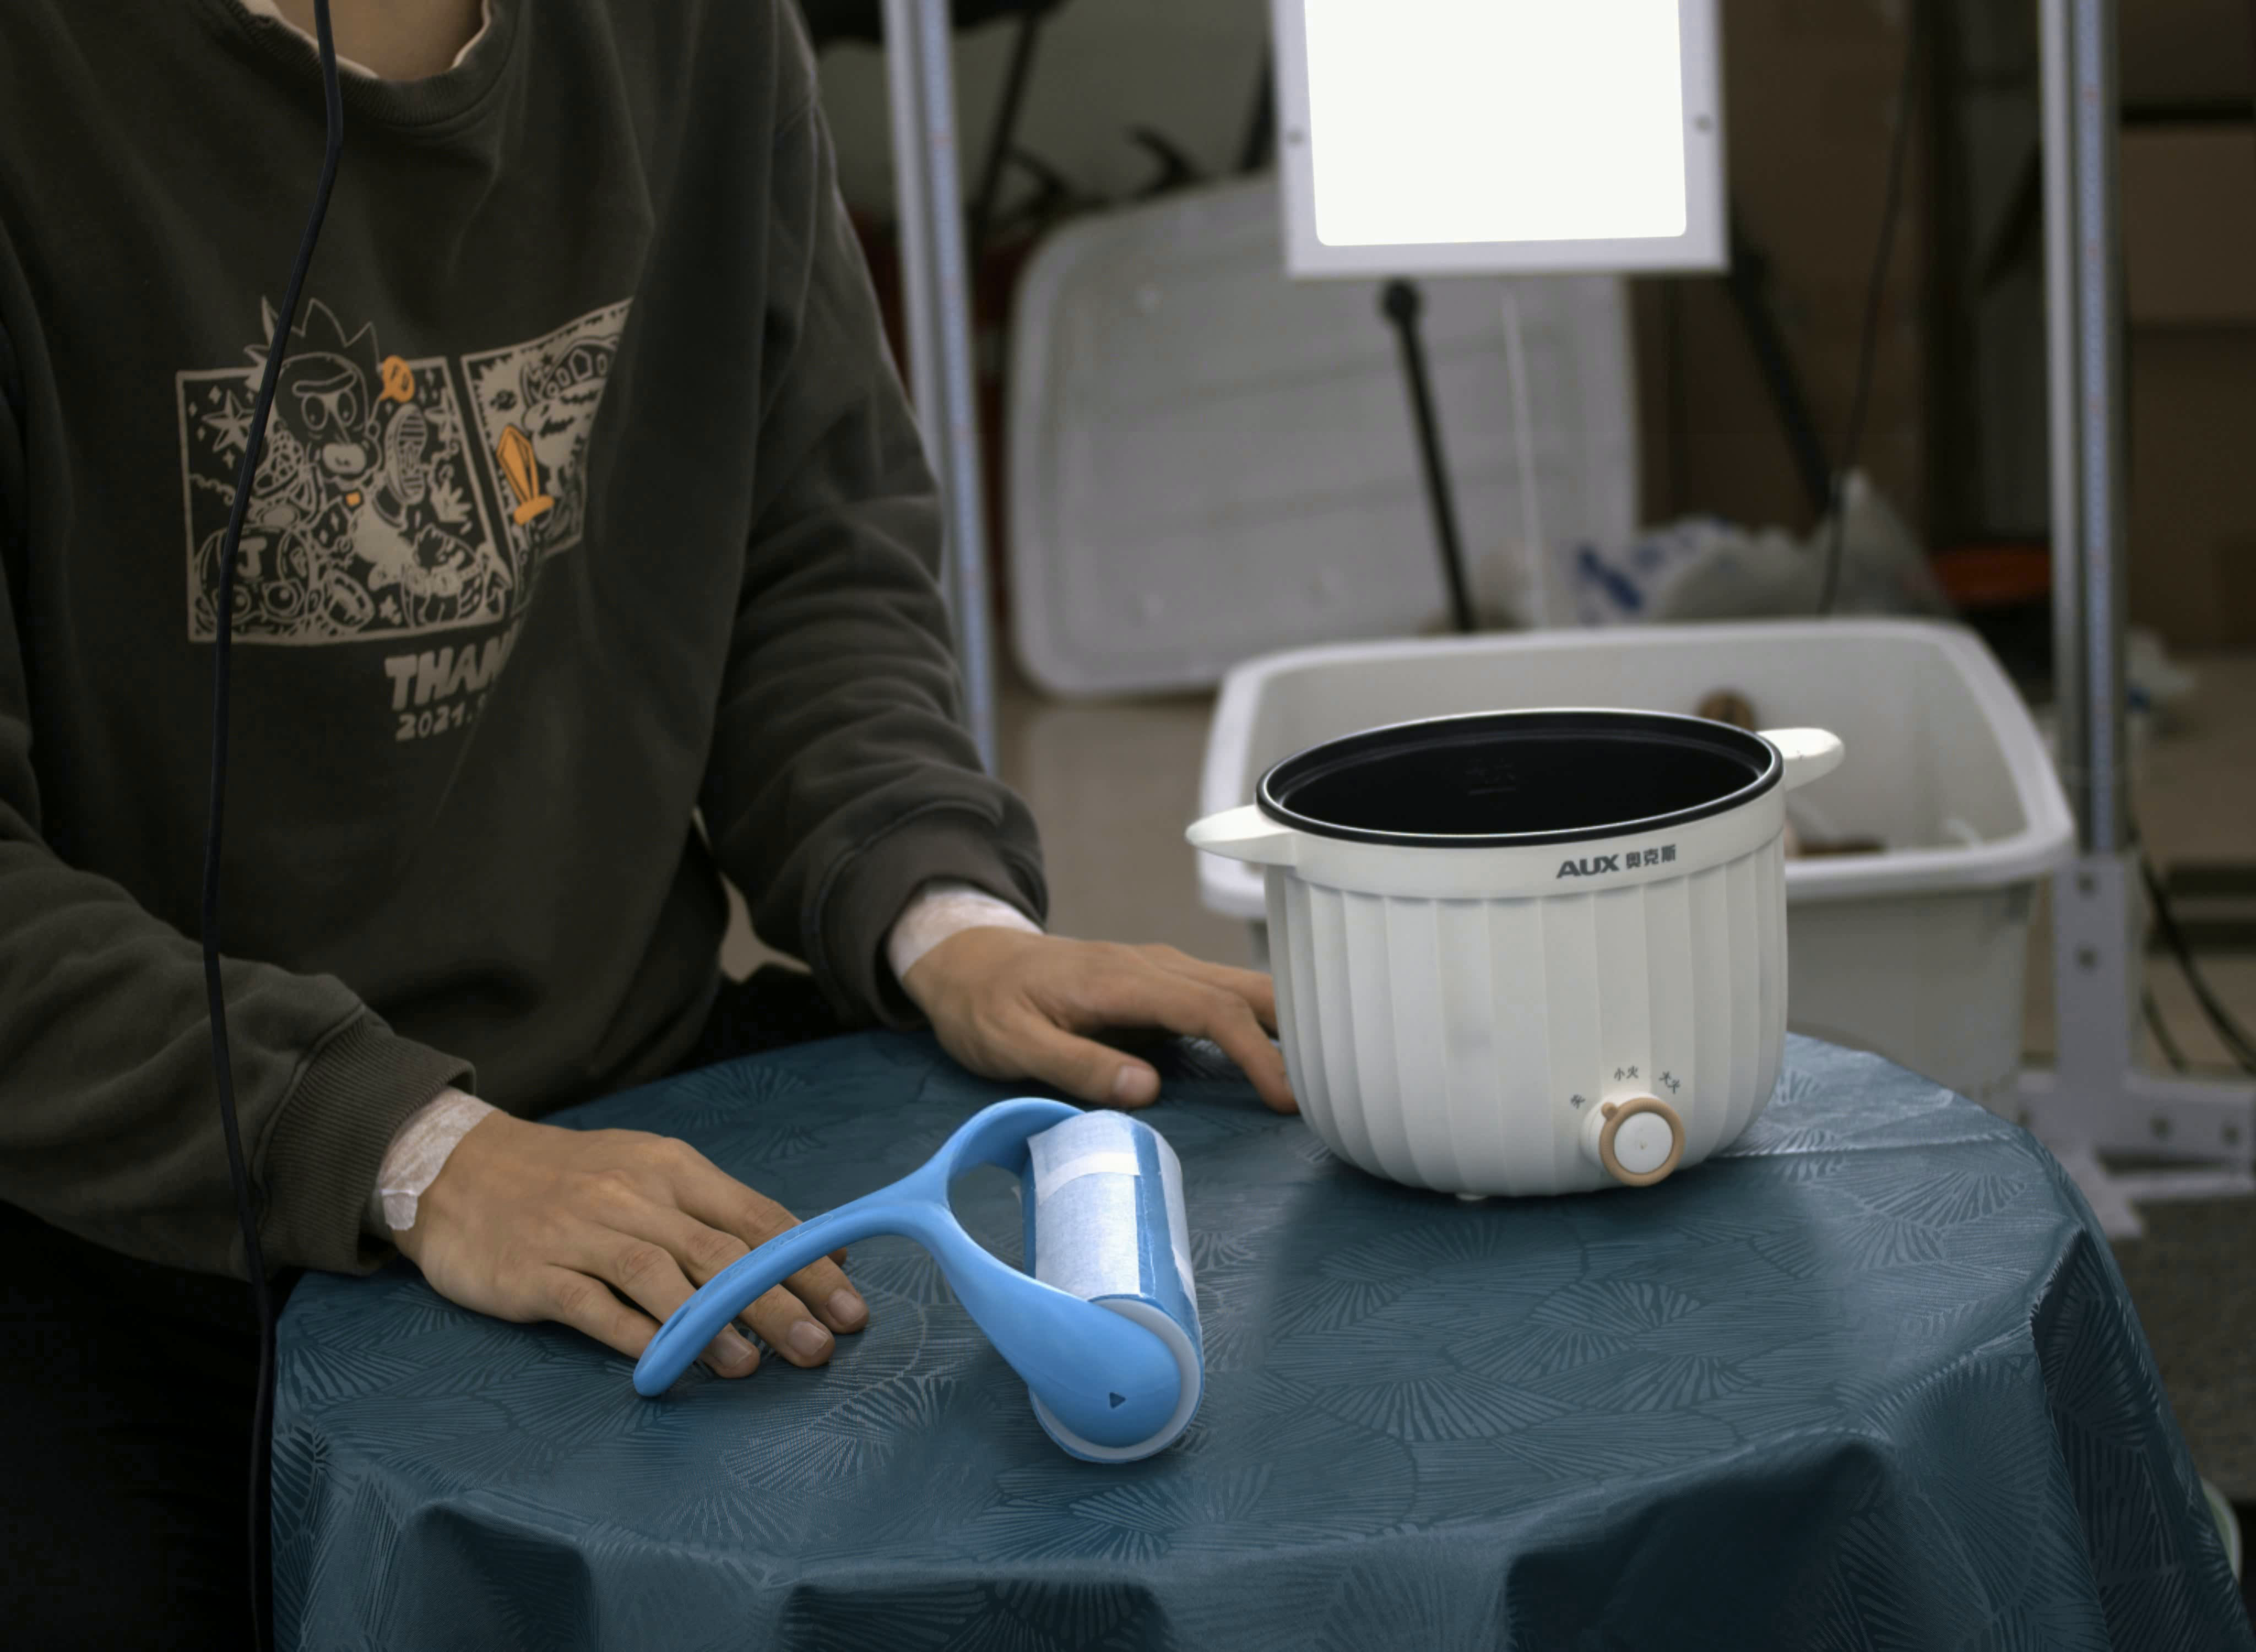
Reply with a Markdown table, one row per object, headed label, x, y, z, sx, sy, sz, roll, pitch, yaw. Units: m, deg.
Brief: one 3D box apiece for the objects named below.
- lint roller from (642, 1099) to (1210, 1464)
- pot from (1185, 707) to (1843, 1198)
| label | x | y | z | sx | sy | sz | roll | pitch | yaw |
| --- | --- | --- | --- | --- | --- | --- | --- | --- | --- |
| lint roller | -0.064 | 0.144 | 1.727 | 0.179 | 0.068 | 0.229 | -4 | 15 | -2 |
| pot | 0.142 | 0.045 | 1.884 | 0.237 | 0.143 | 0.192 | -10 | 12 | -14 |
